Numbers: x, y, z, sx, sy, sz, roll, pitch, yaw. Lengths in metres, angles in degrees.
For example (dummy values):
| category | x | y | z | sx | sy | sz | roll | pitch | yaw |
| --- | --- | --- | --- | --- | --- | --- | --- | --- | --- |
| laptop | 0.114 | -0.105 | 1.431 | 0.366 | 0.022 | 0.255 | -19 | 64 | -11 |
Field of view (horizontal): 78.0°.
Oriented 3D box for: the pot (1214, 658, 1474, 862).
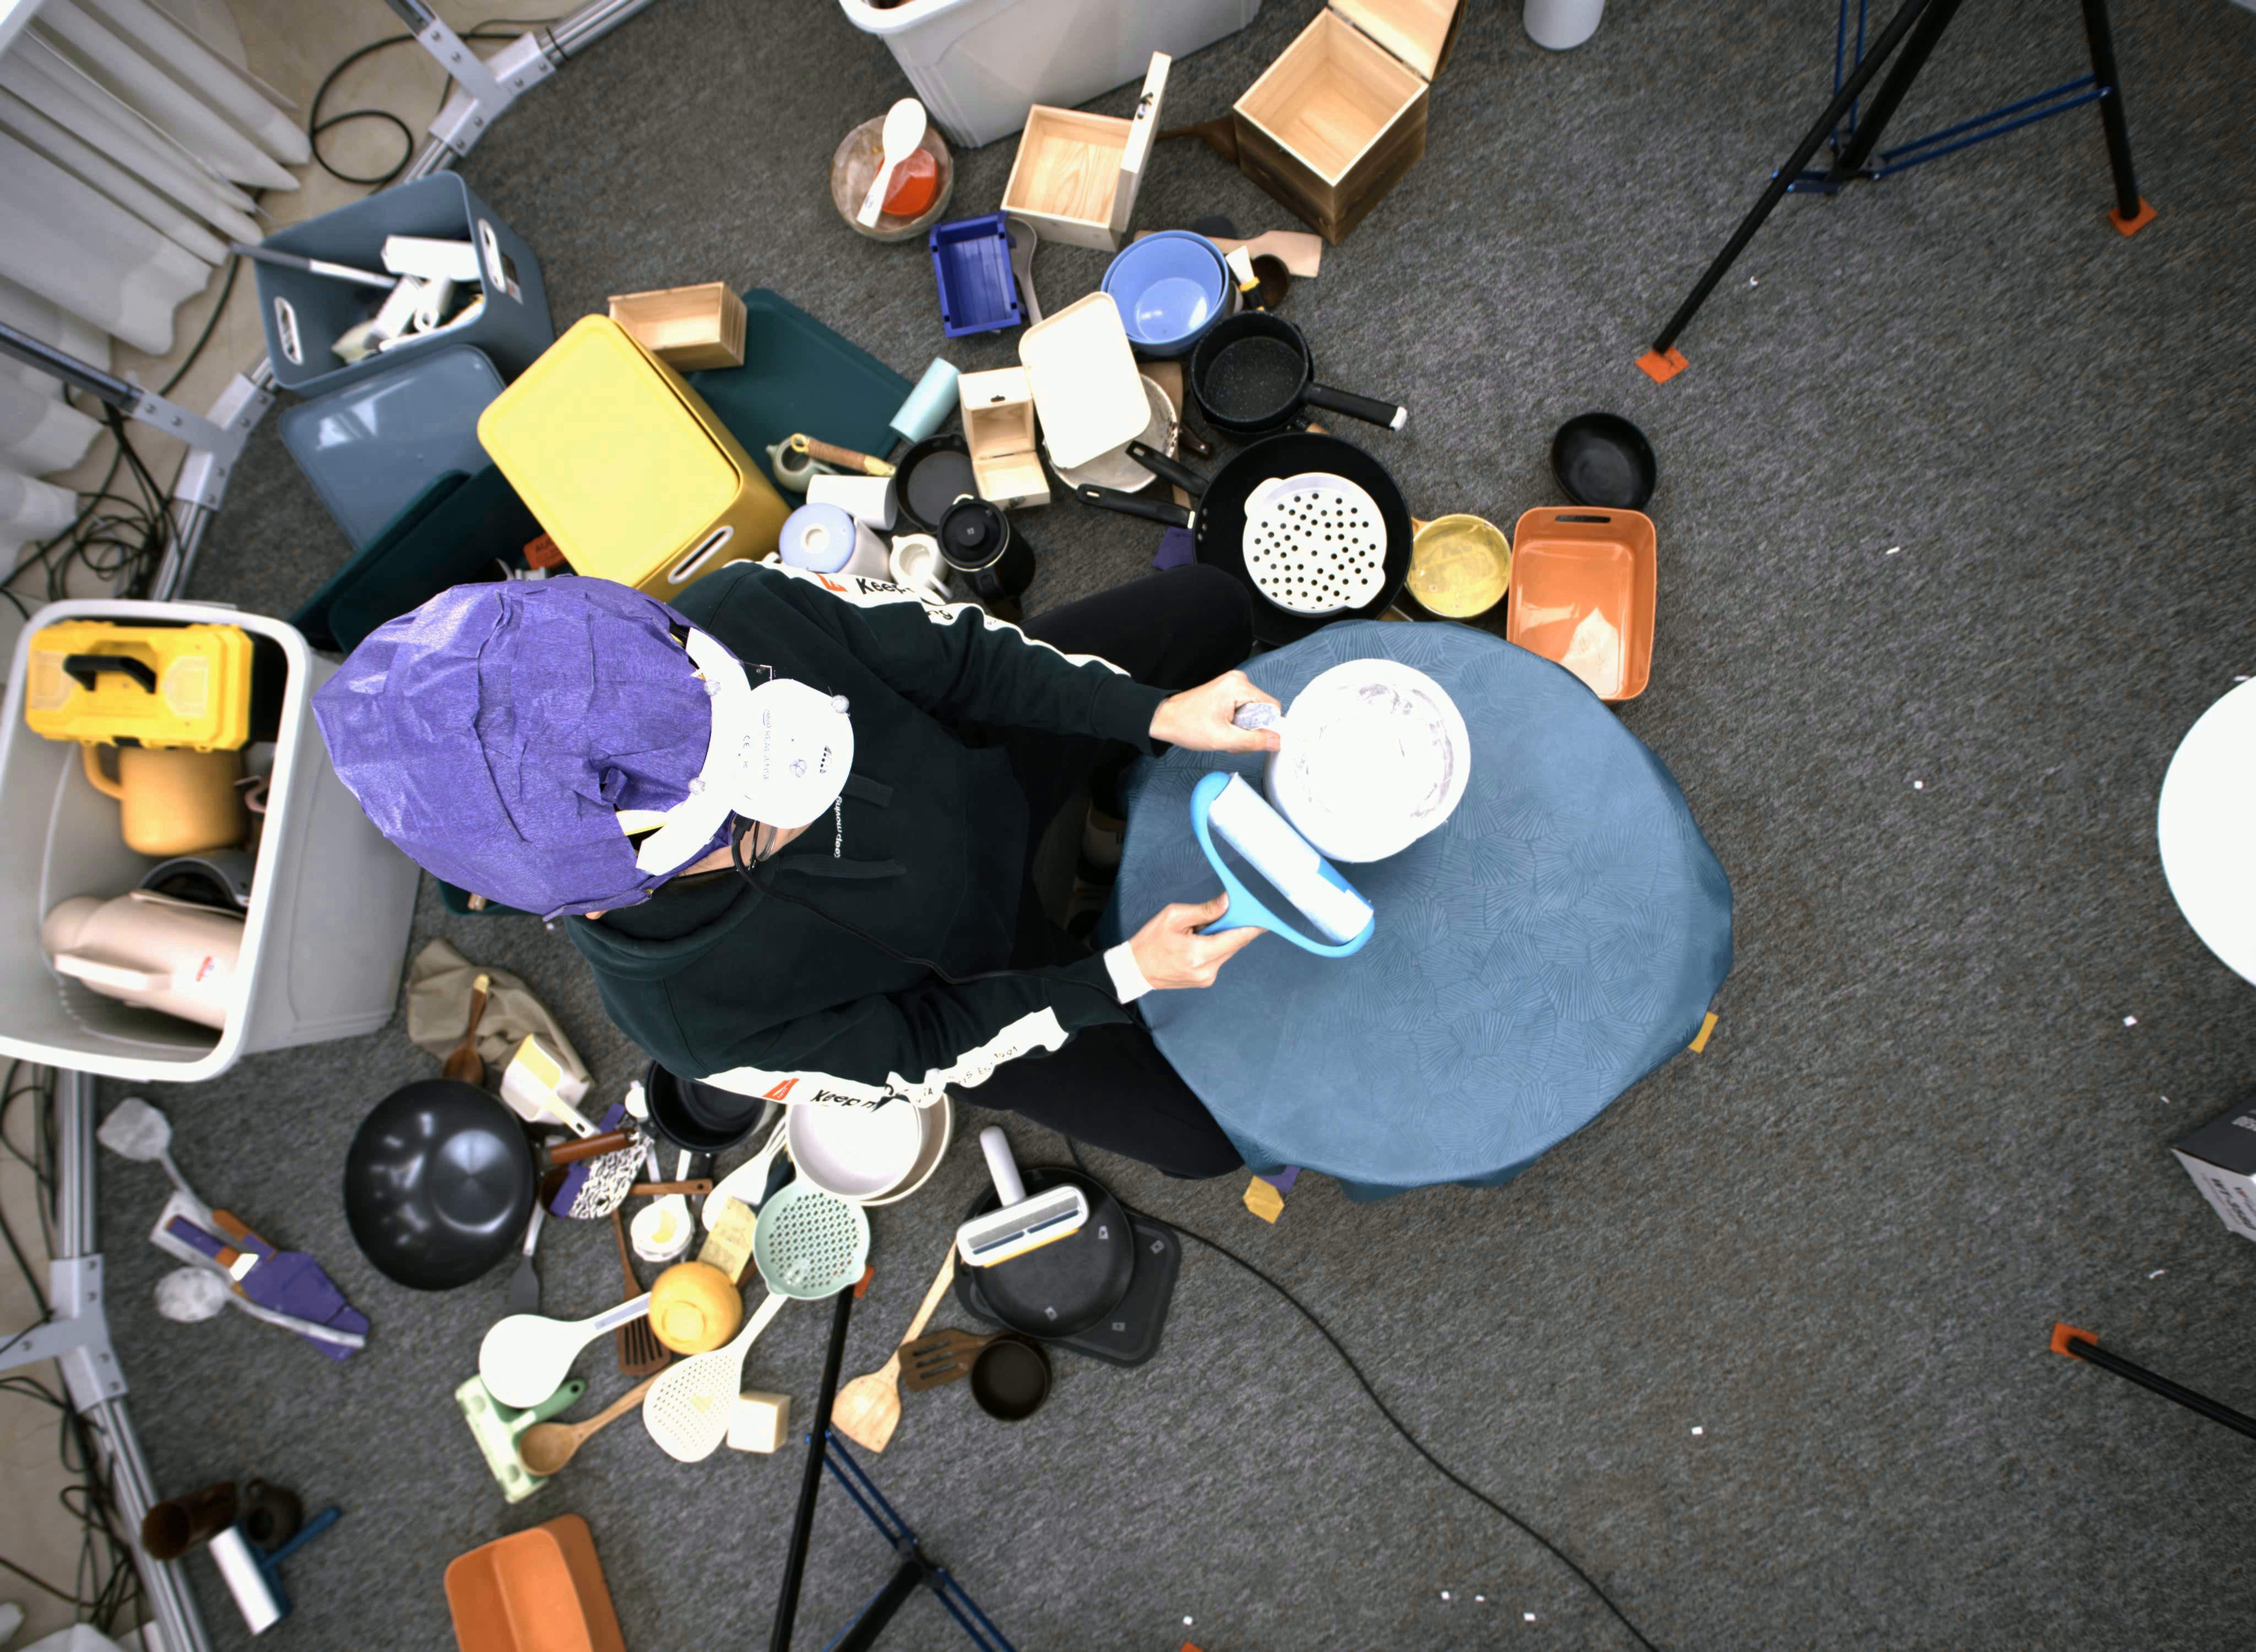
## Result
| category | x | y | z | sx | sy | sz | roll | pitch | yaw |
| --- | --- | --- | --- | --- | --- | --- | --- | --- | --- |
| pot | 0.198 | -0.068 | 1.317 | 0.234 | 0.137 | 0.177 | 18 | 81 | -2 |

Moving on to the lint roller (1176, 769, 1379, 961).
| category | x | y | z | sx | sy | sz | roll | pitch | yaw |
| --- | --- | --- | --- | --- | --- | --- | --- | --- | --- |
| lint roller | 0.115 | 0.072 | 1.336 | 0.230 | 0.067 | 0.182 | 38 | 103 | -12 |
